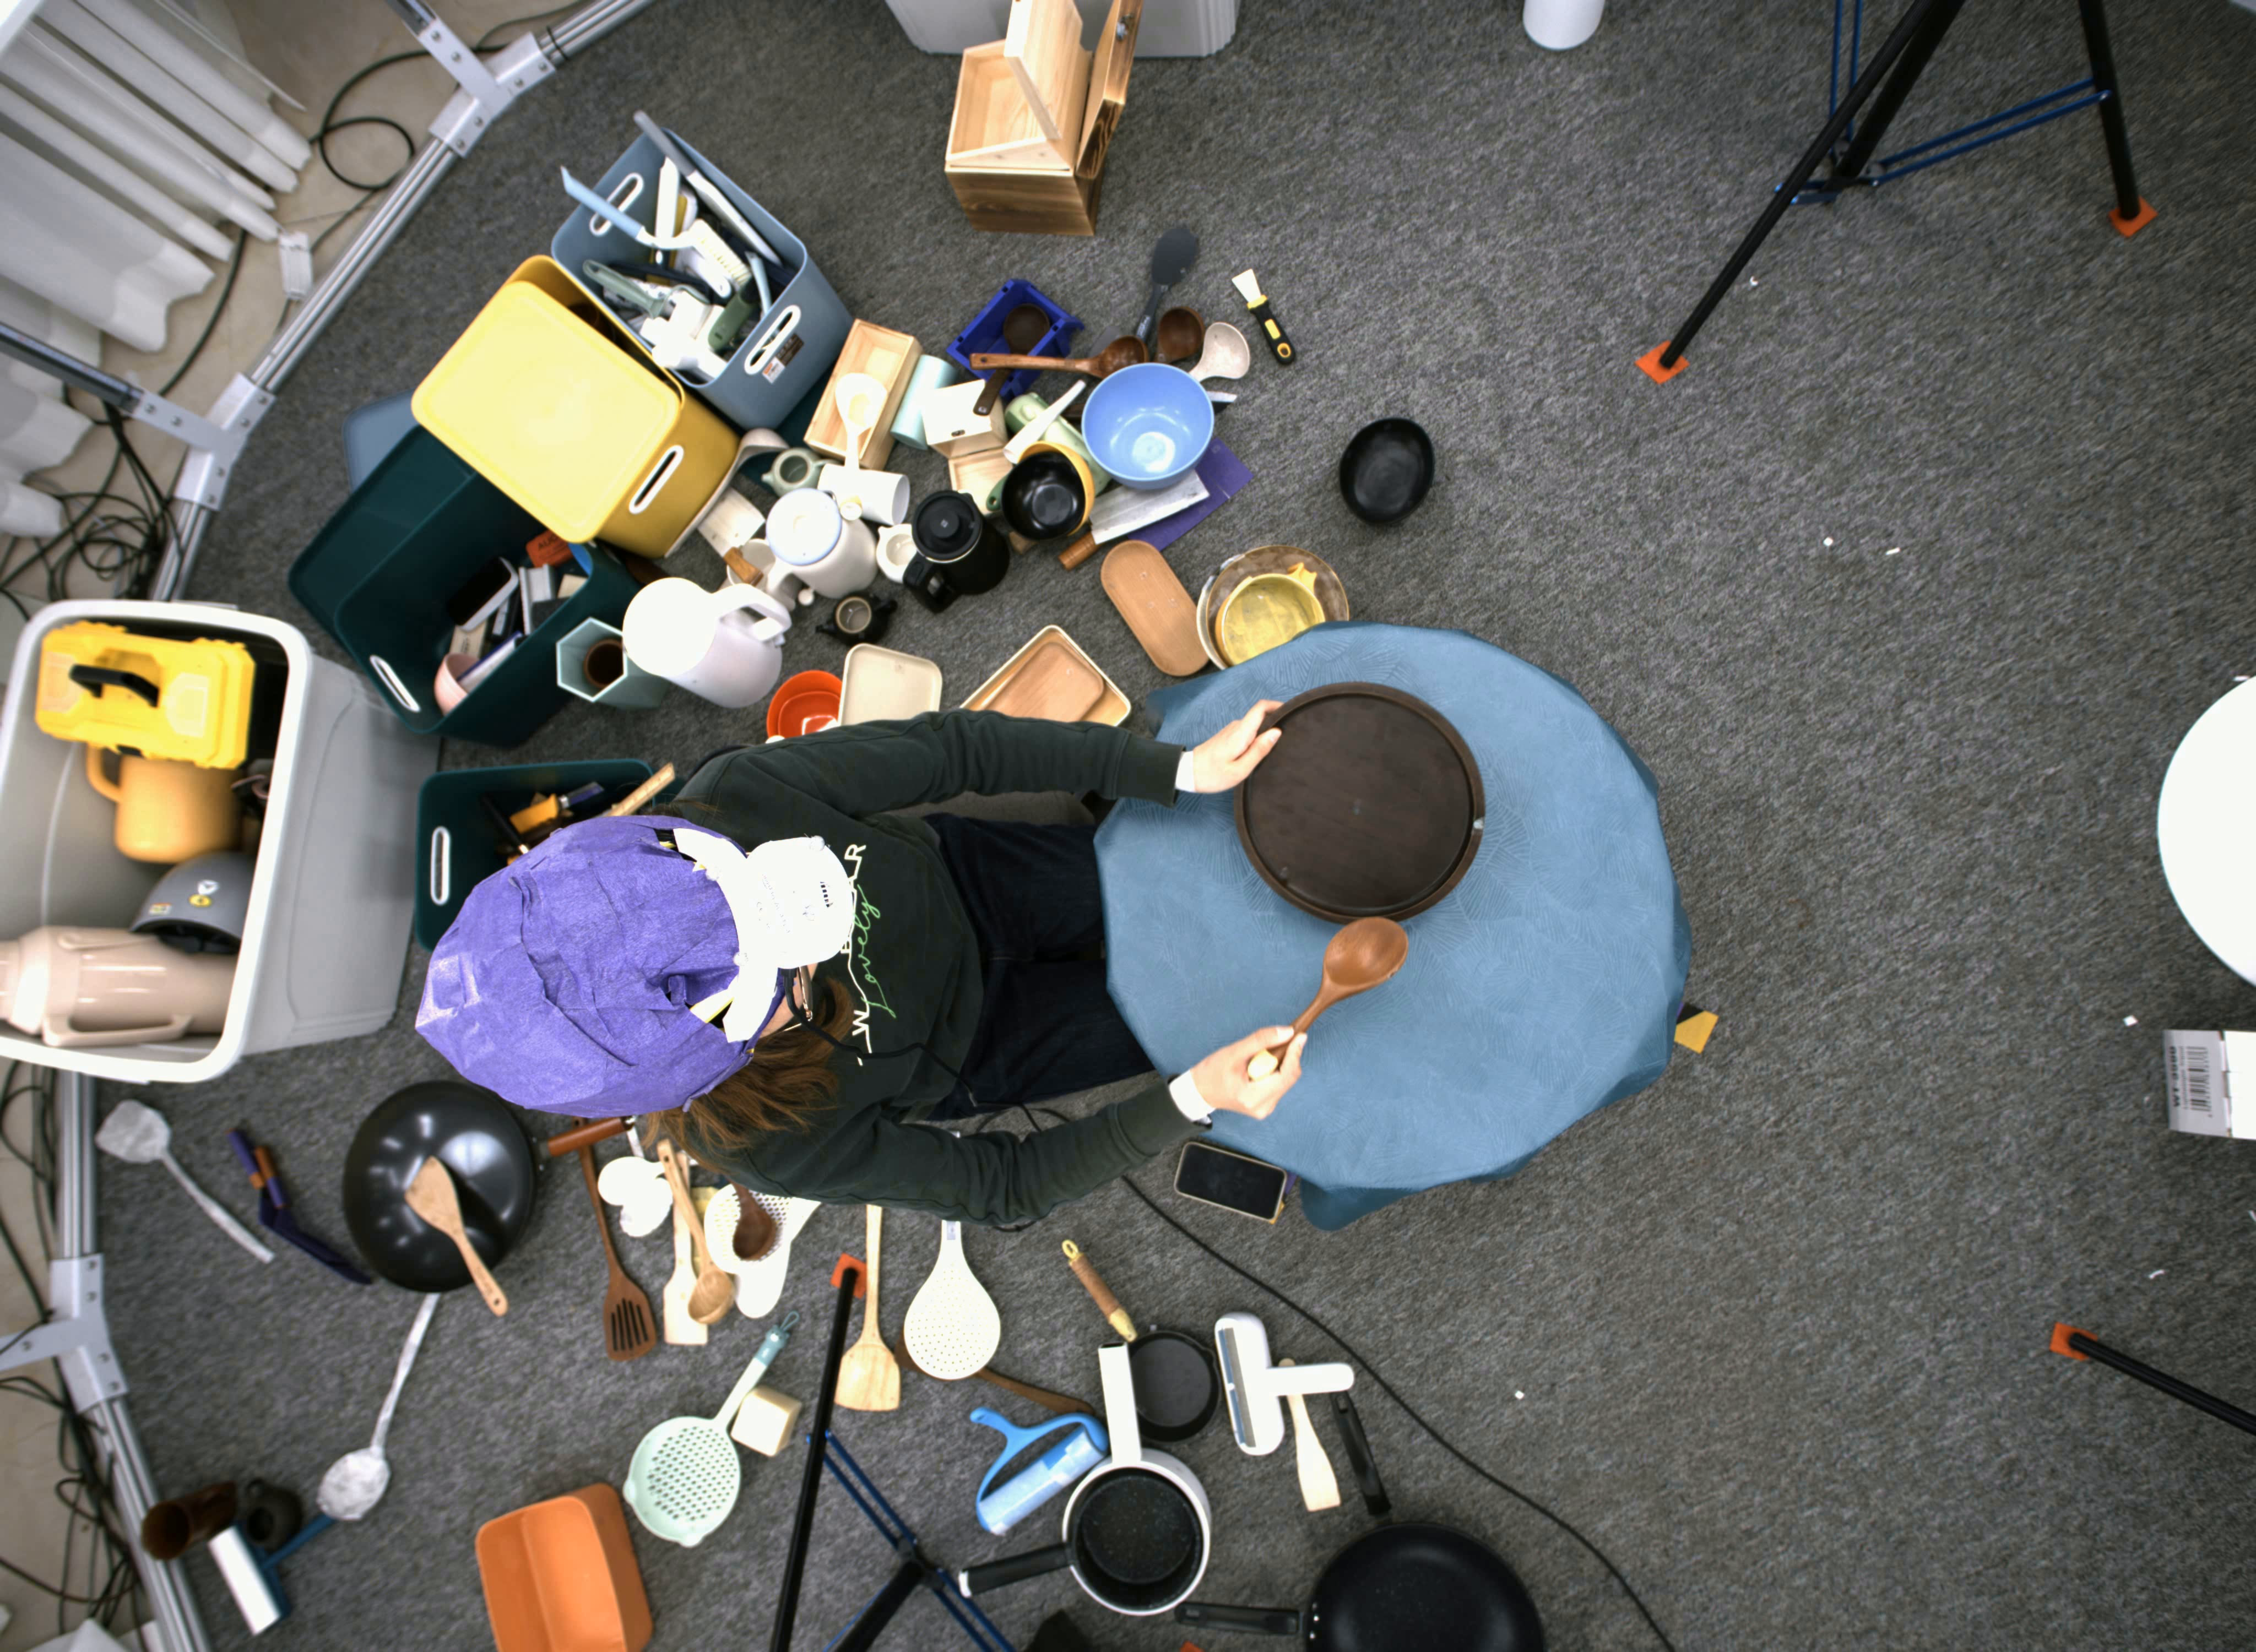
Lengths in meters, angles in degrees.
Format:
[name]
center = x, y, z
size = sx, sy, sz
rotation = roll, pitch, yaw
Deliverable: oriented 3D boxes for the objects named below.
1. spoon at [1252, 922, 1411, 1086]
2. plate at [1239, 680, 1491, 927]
[spoon]
center = 0.188, 0.166, 1.303
size = 0.075, 0.018, 0.212
rotation = 30, 61, 33
[plate]
center = 0.236, -0.022, 1.388
size = 0.256, 0.028, 0.258
rotation = 5, 107, 16
